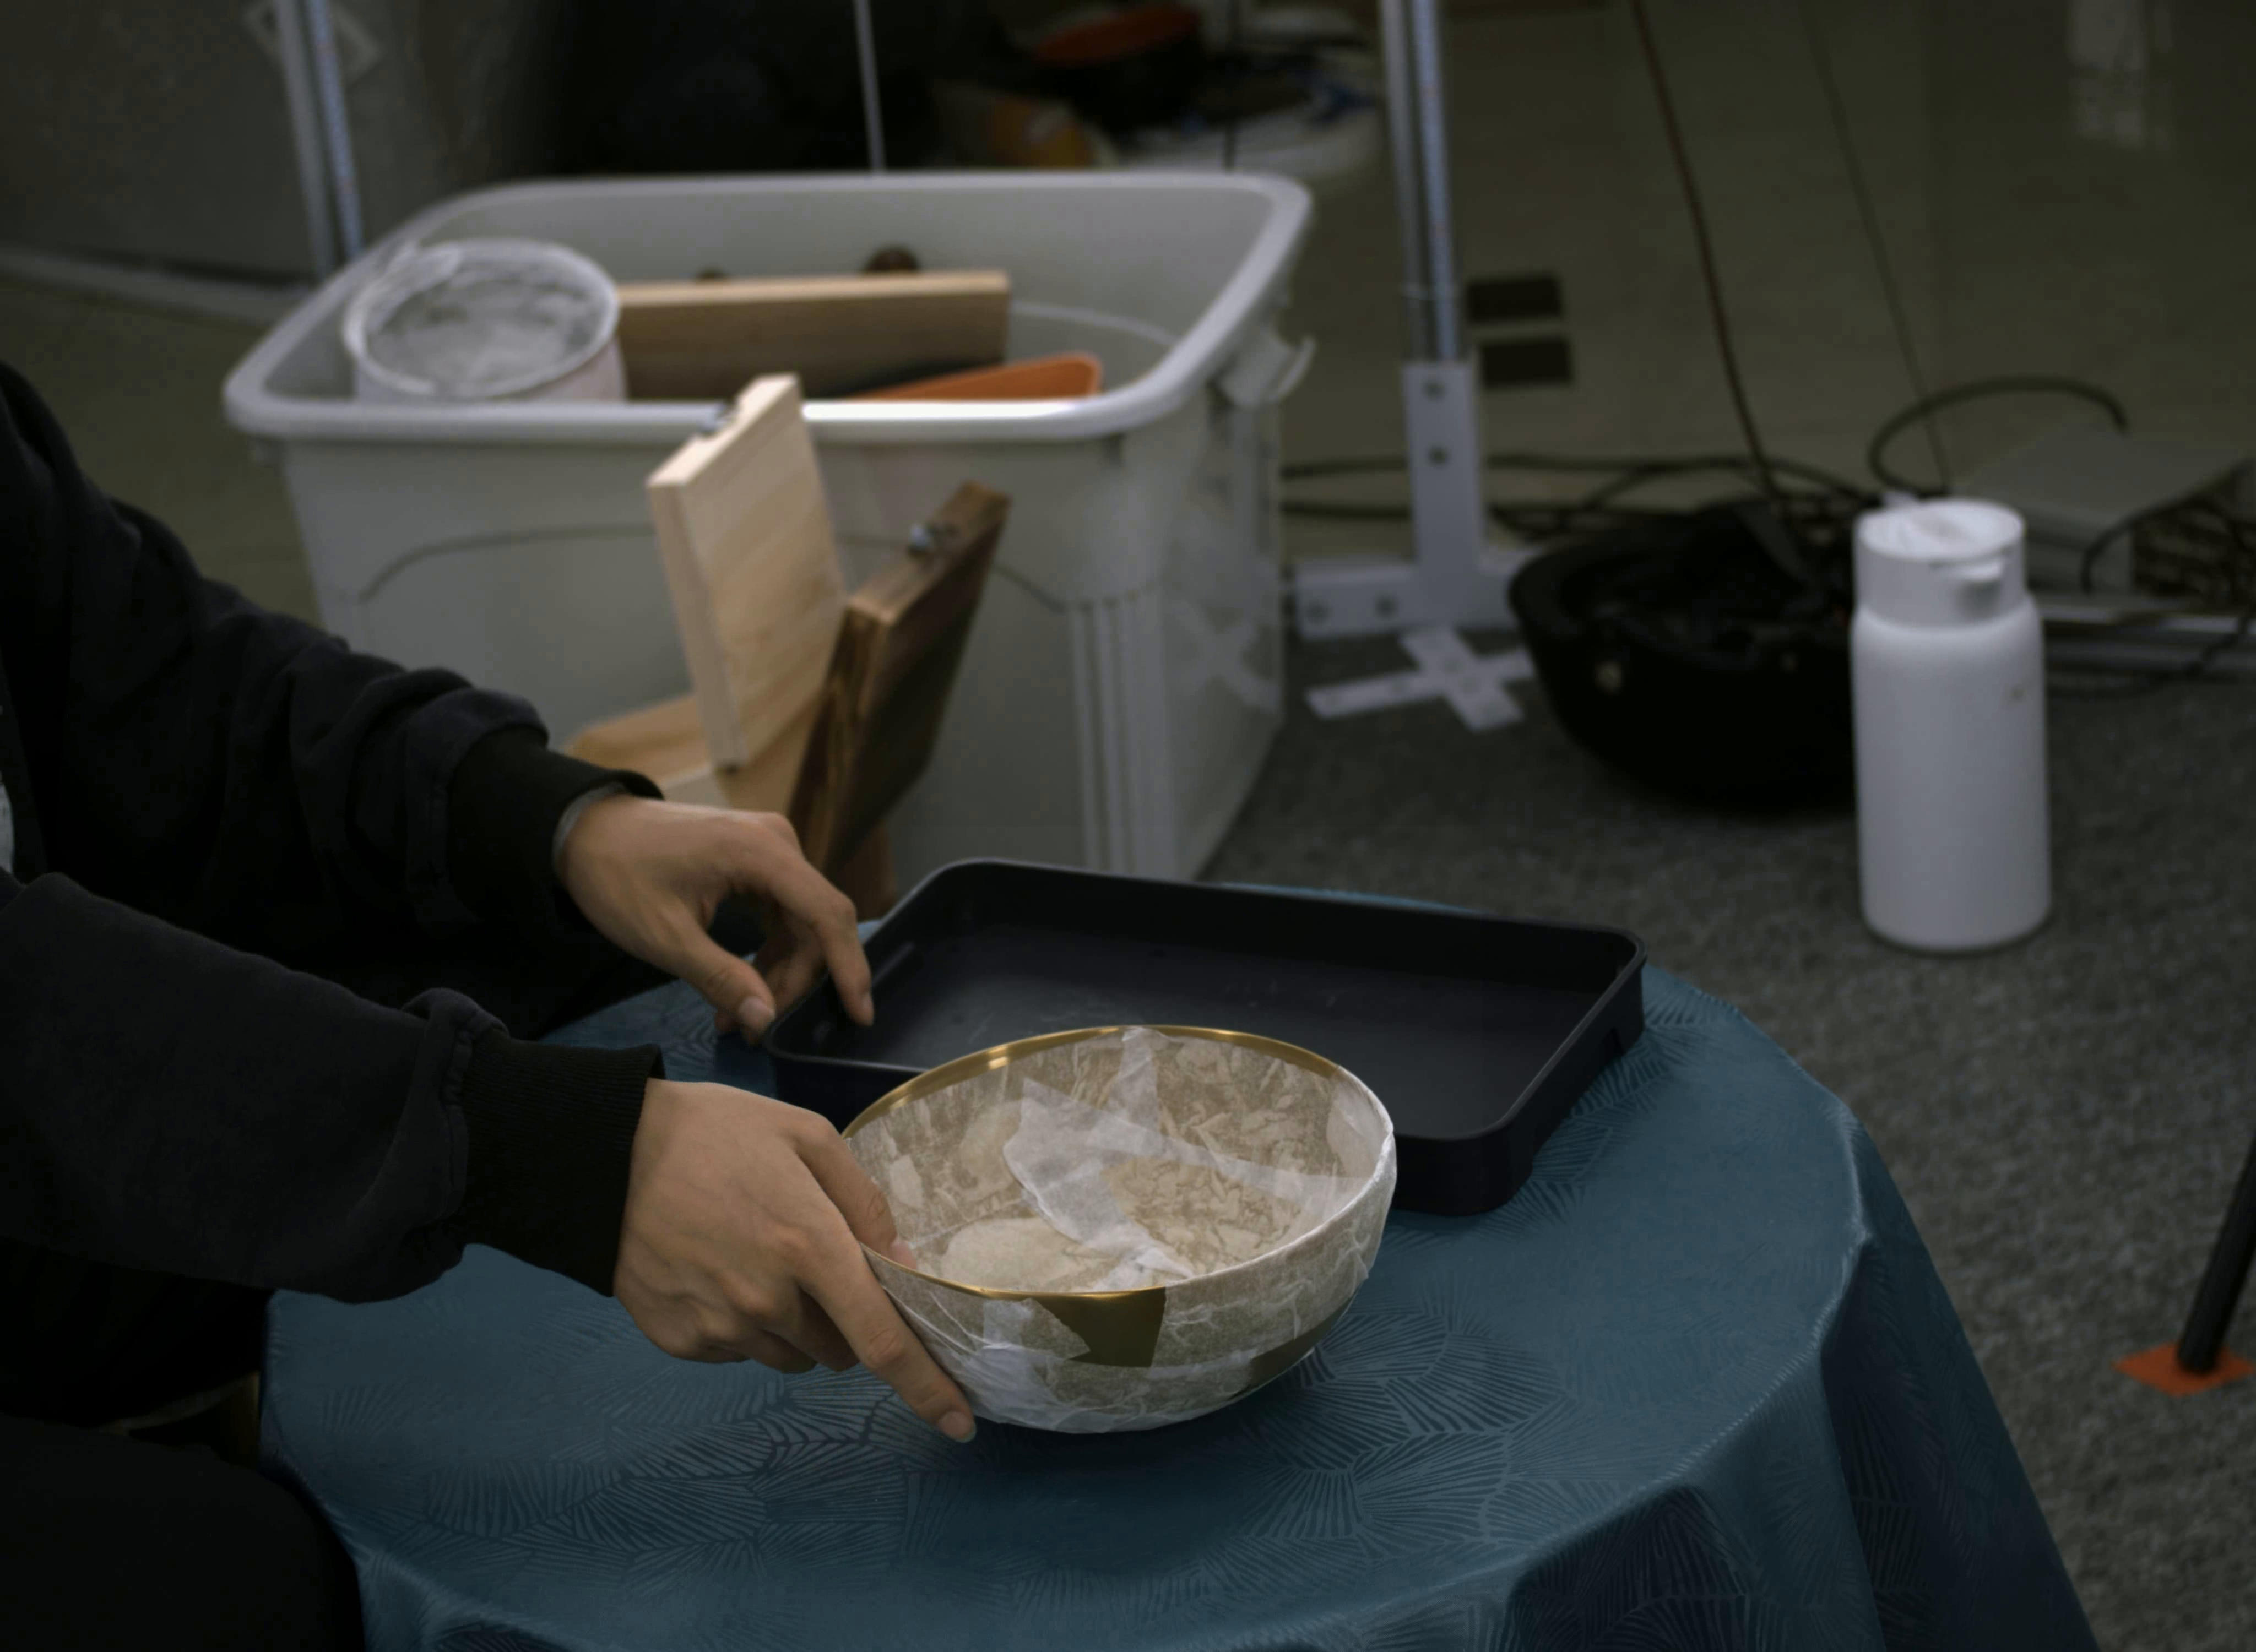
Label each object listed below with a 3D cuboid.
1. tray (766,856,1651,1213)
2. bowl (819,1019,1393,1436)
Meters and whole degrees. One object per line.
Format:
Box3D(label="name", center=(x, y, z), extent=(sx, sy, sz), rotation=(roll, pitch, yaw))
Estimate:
Box3D(label="tray", center=(0.032, 0.079, 2.227), extent=(0.317, 0.037, 0.182), rotation=(6, 29, 27))
Box3D(label="bowl", center=(-0.007, 0.154, 2.012), extent=(0.214, 0.096, 0.211), rotation=(-5, 26, 3))
